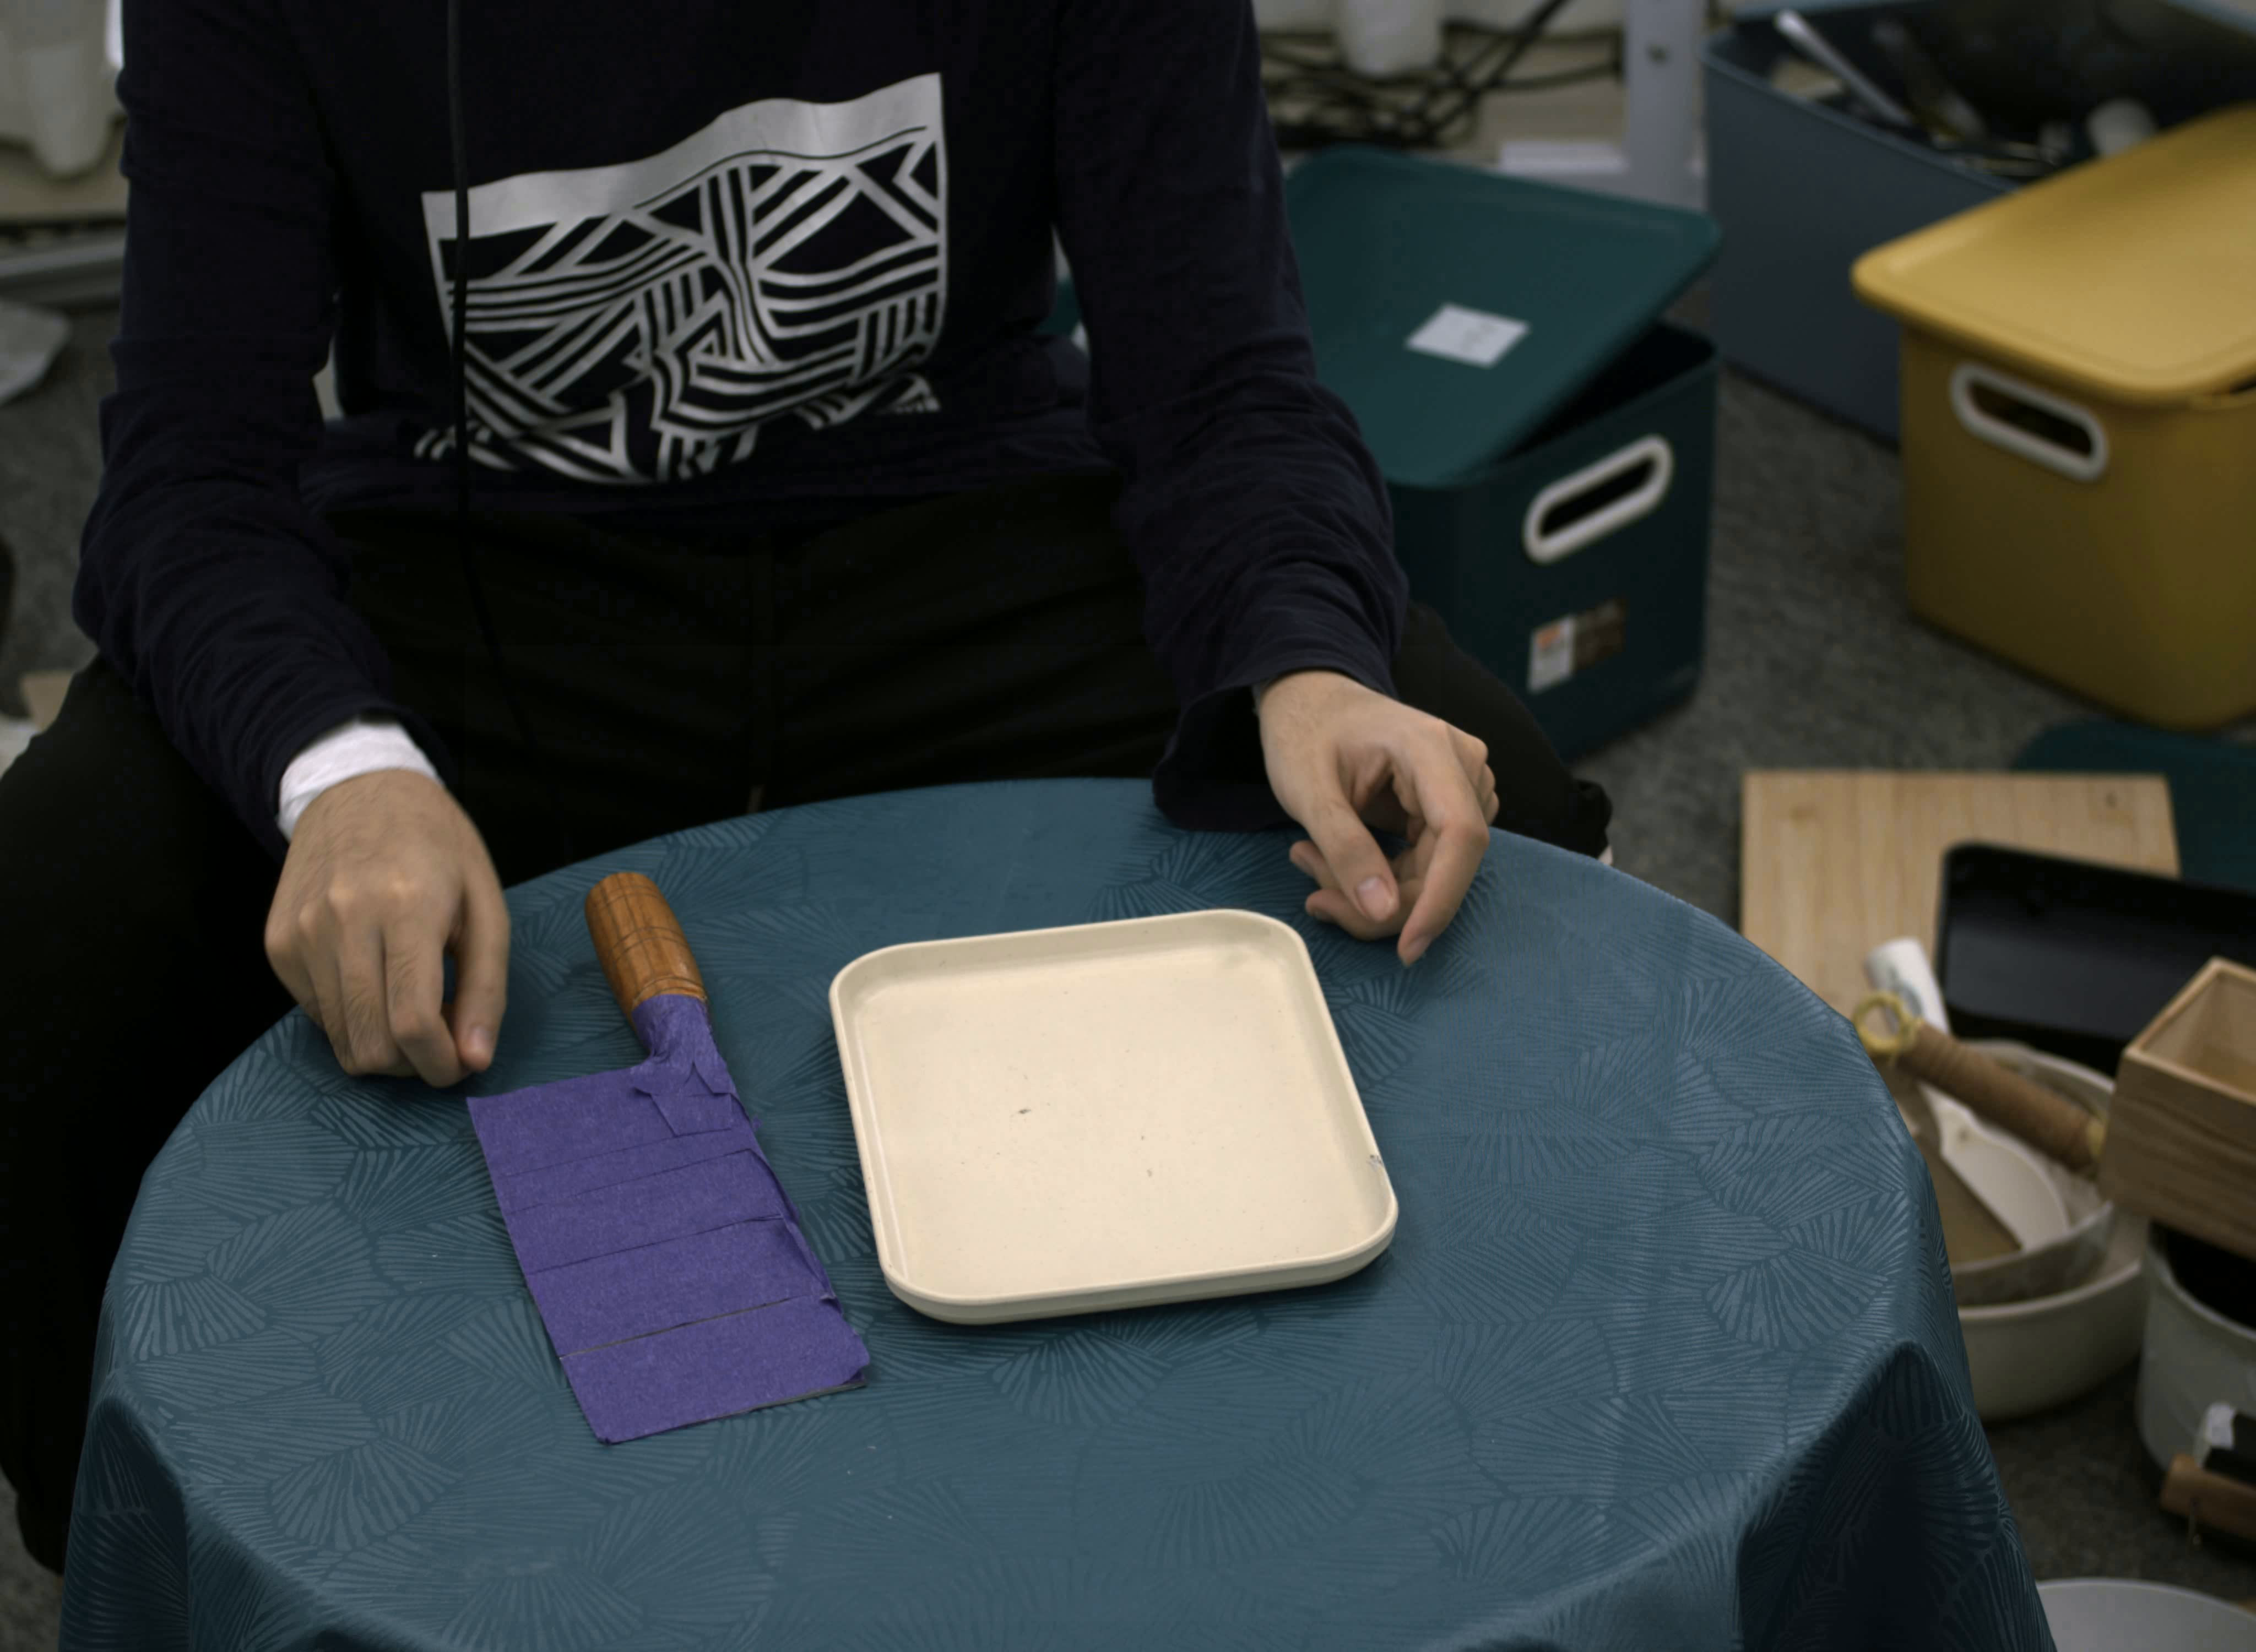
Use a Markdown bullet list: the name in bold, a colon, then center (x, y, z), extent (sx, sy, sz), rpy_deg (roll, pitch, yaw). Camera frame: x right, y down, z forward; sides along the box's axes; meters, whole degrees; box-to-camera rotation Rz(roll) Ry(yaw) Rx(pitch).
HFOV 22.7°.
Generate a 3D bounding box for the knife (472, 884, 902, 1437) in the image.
- **knife**: center (-0.167, 0.107, 1.877), extent (0.104, 0.032, 0.318), rpy_deg (-10, 29, -15)

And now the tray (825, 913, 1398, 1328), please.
- **tray**: center (-0.009, 0.098, 1.890), extent (0.171, 0.017, 0.243), rpy_deg (-6, 27, -6)
